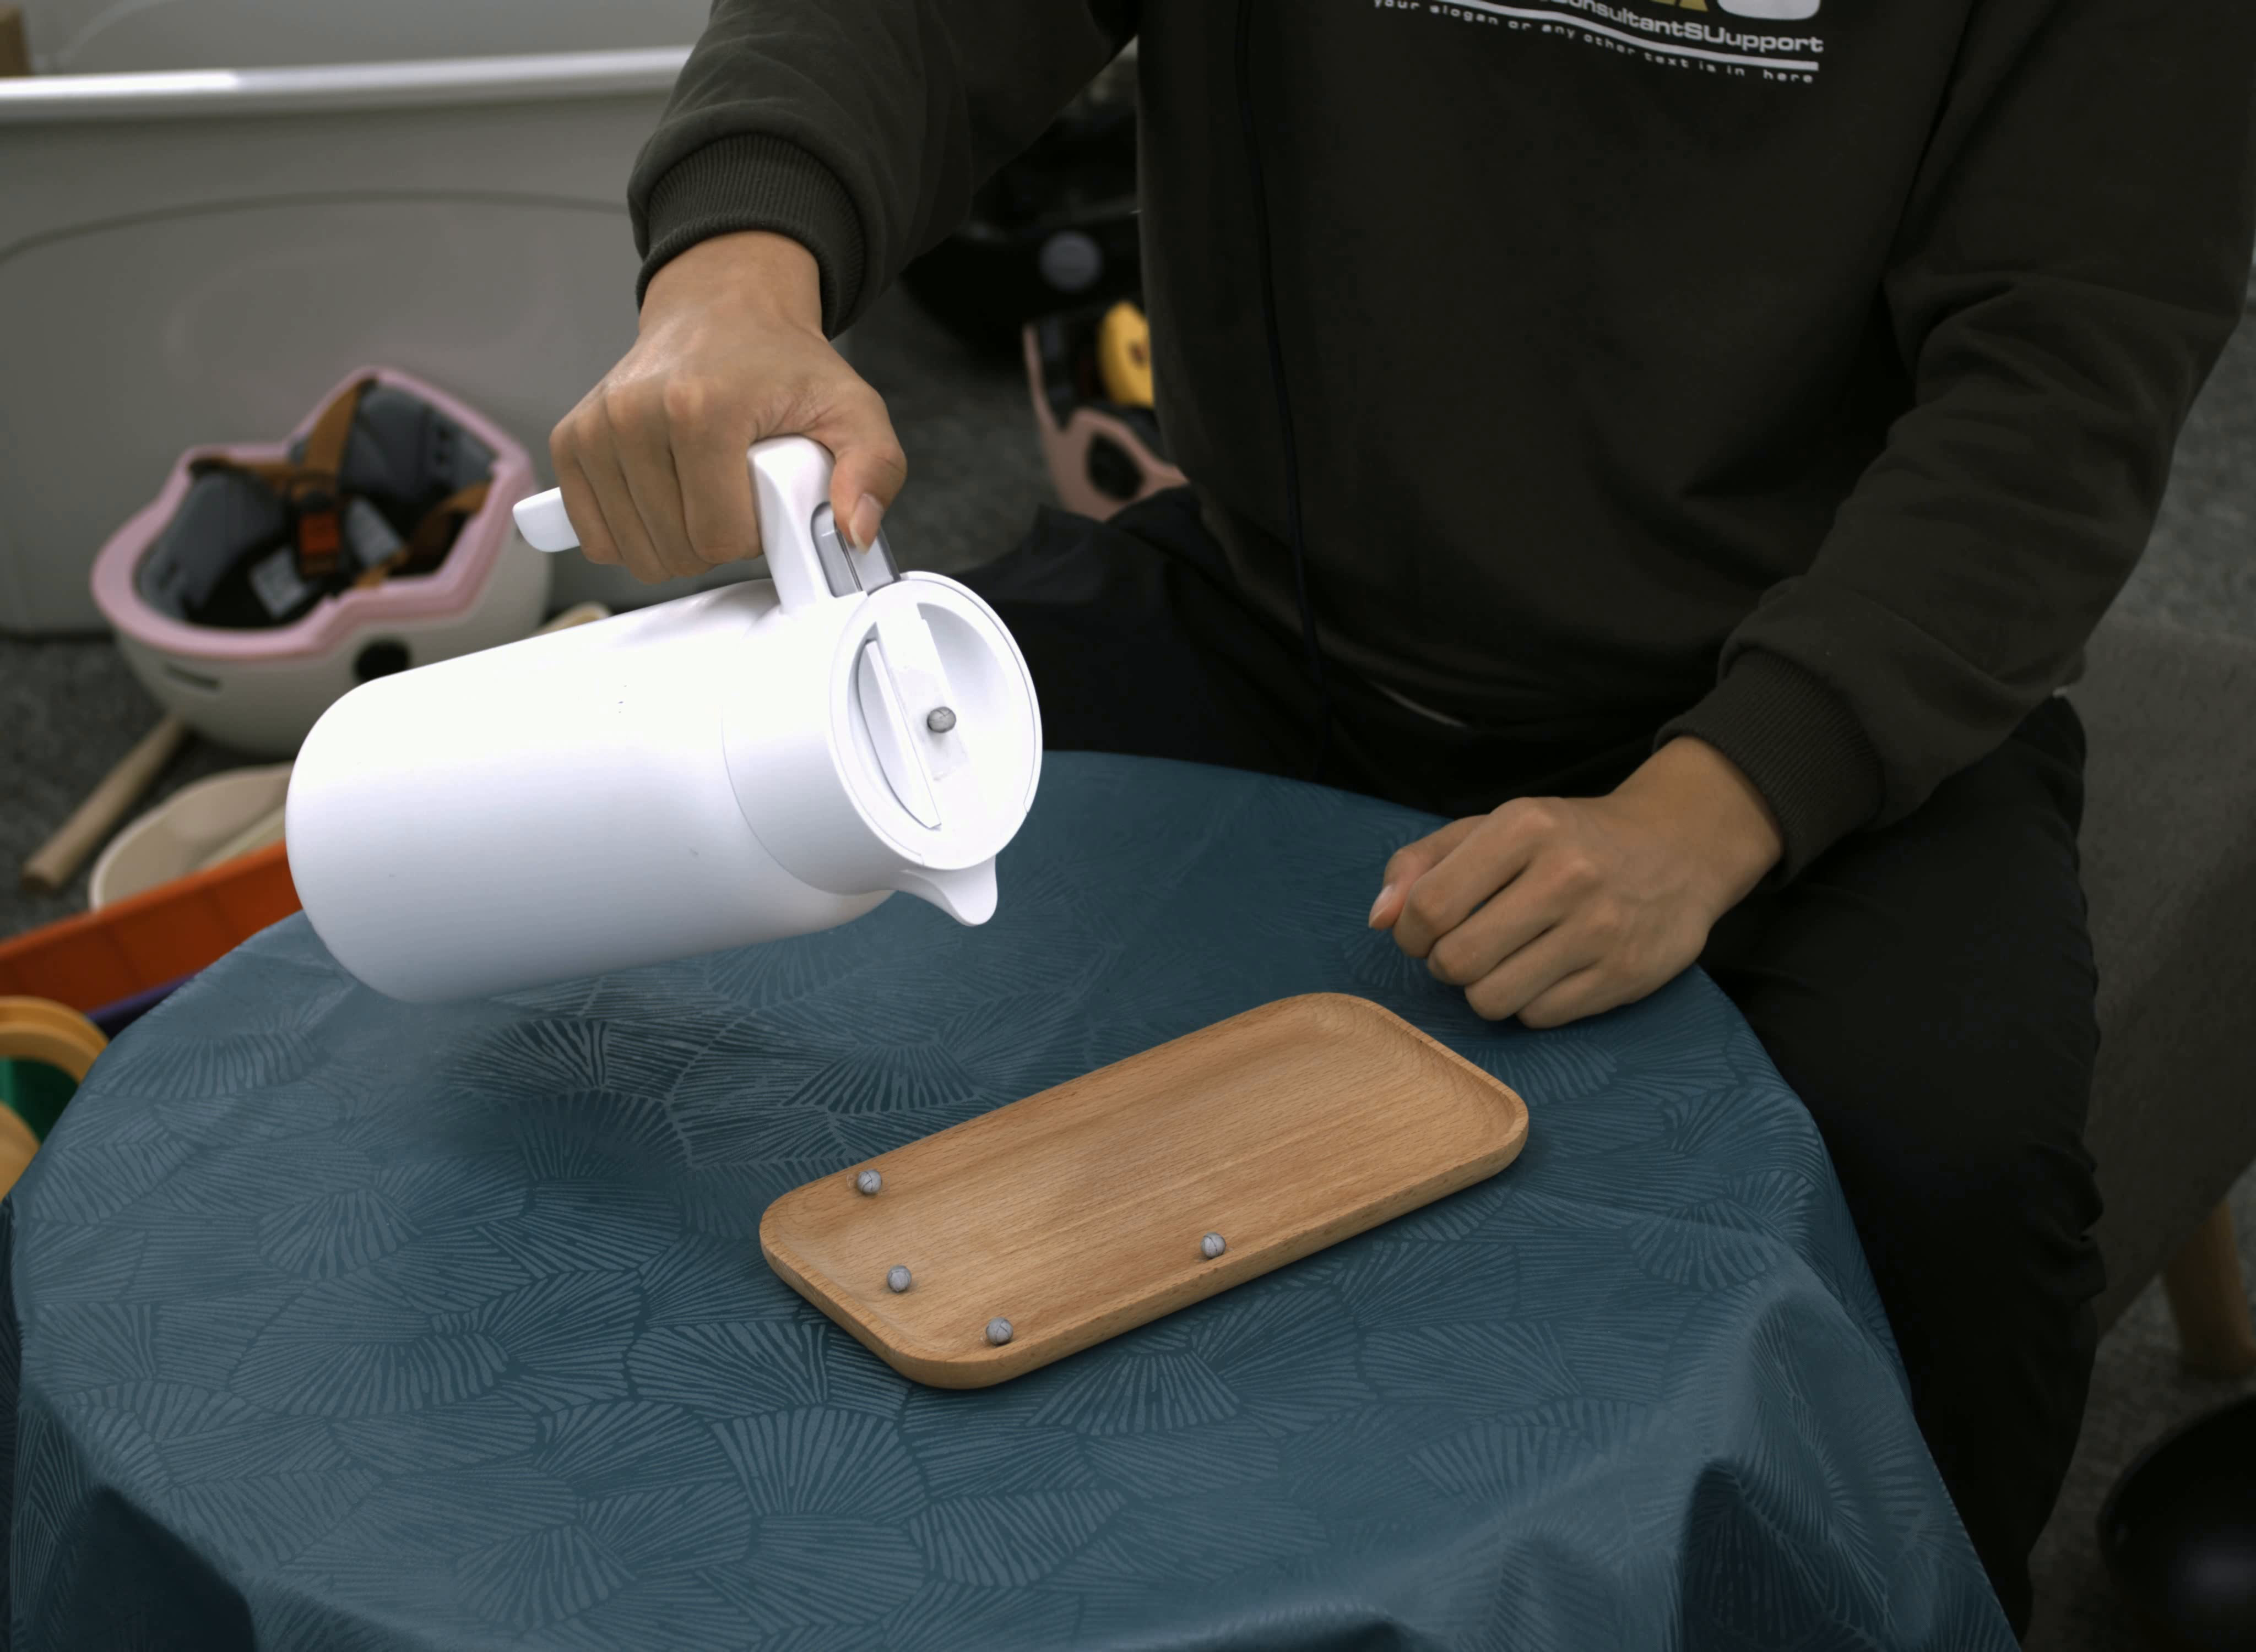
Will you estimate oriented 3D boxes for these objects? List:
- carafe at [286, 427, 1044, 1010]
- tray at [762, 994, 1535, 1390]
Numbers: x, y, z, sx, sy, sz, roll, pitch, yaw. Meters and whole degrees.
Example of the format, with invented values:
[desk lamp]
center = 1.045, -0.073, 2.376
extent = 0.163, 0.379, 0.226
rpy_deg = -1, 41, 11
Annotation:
[carafe]
center = -0.162, -0.029, 1.871
extent = 0.265, 0.173, 0.125
rpy_deg = -13, 11, 43
[tray]
center = 0.008, 0.119, 1.852
extent = 0.252, 0.022, 0.131
rpy_deg = -19, 34, -30
